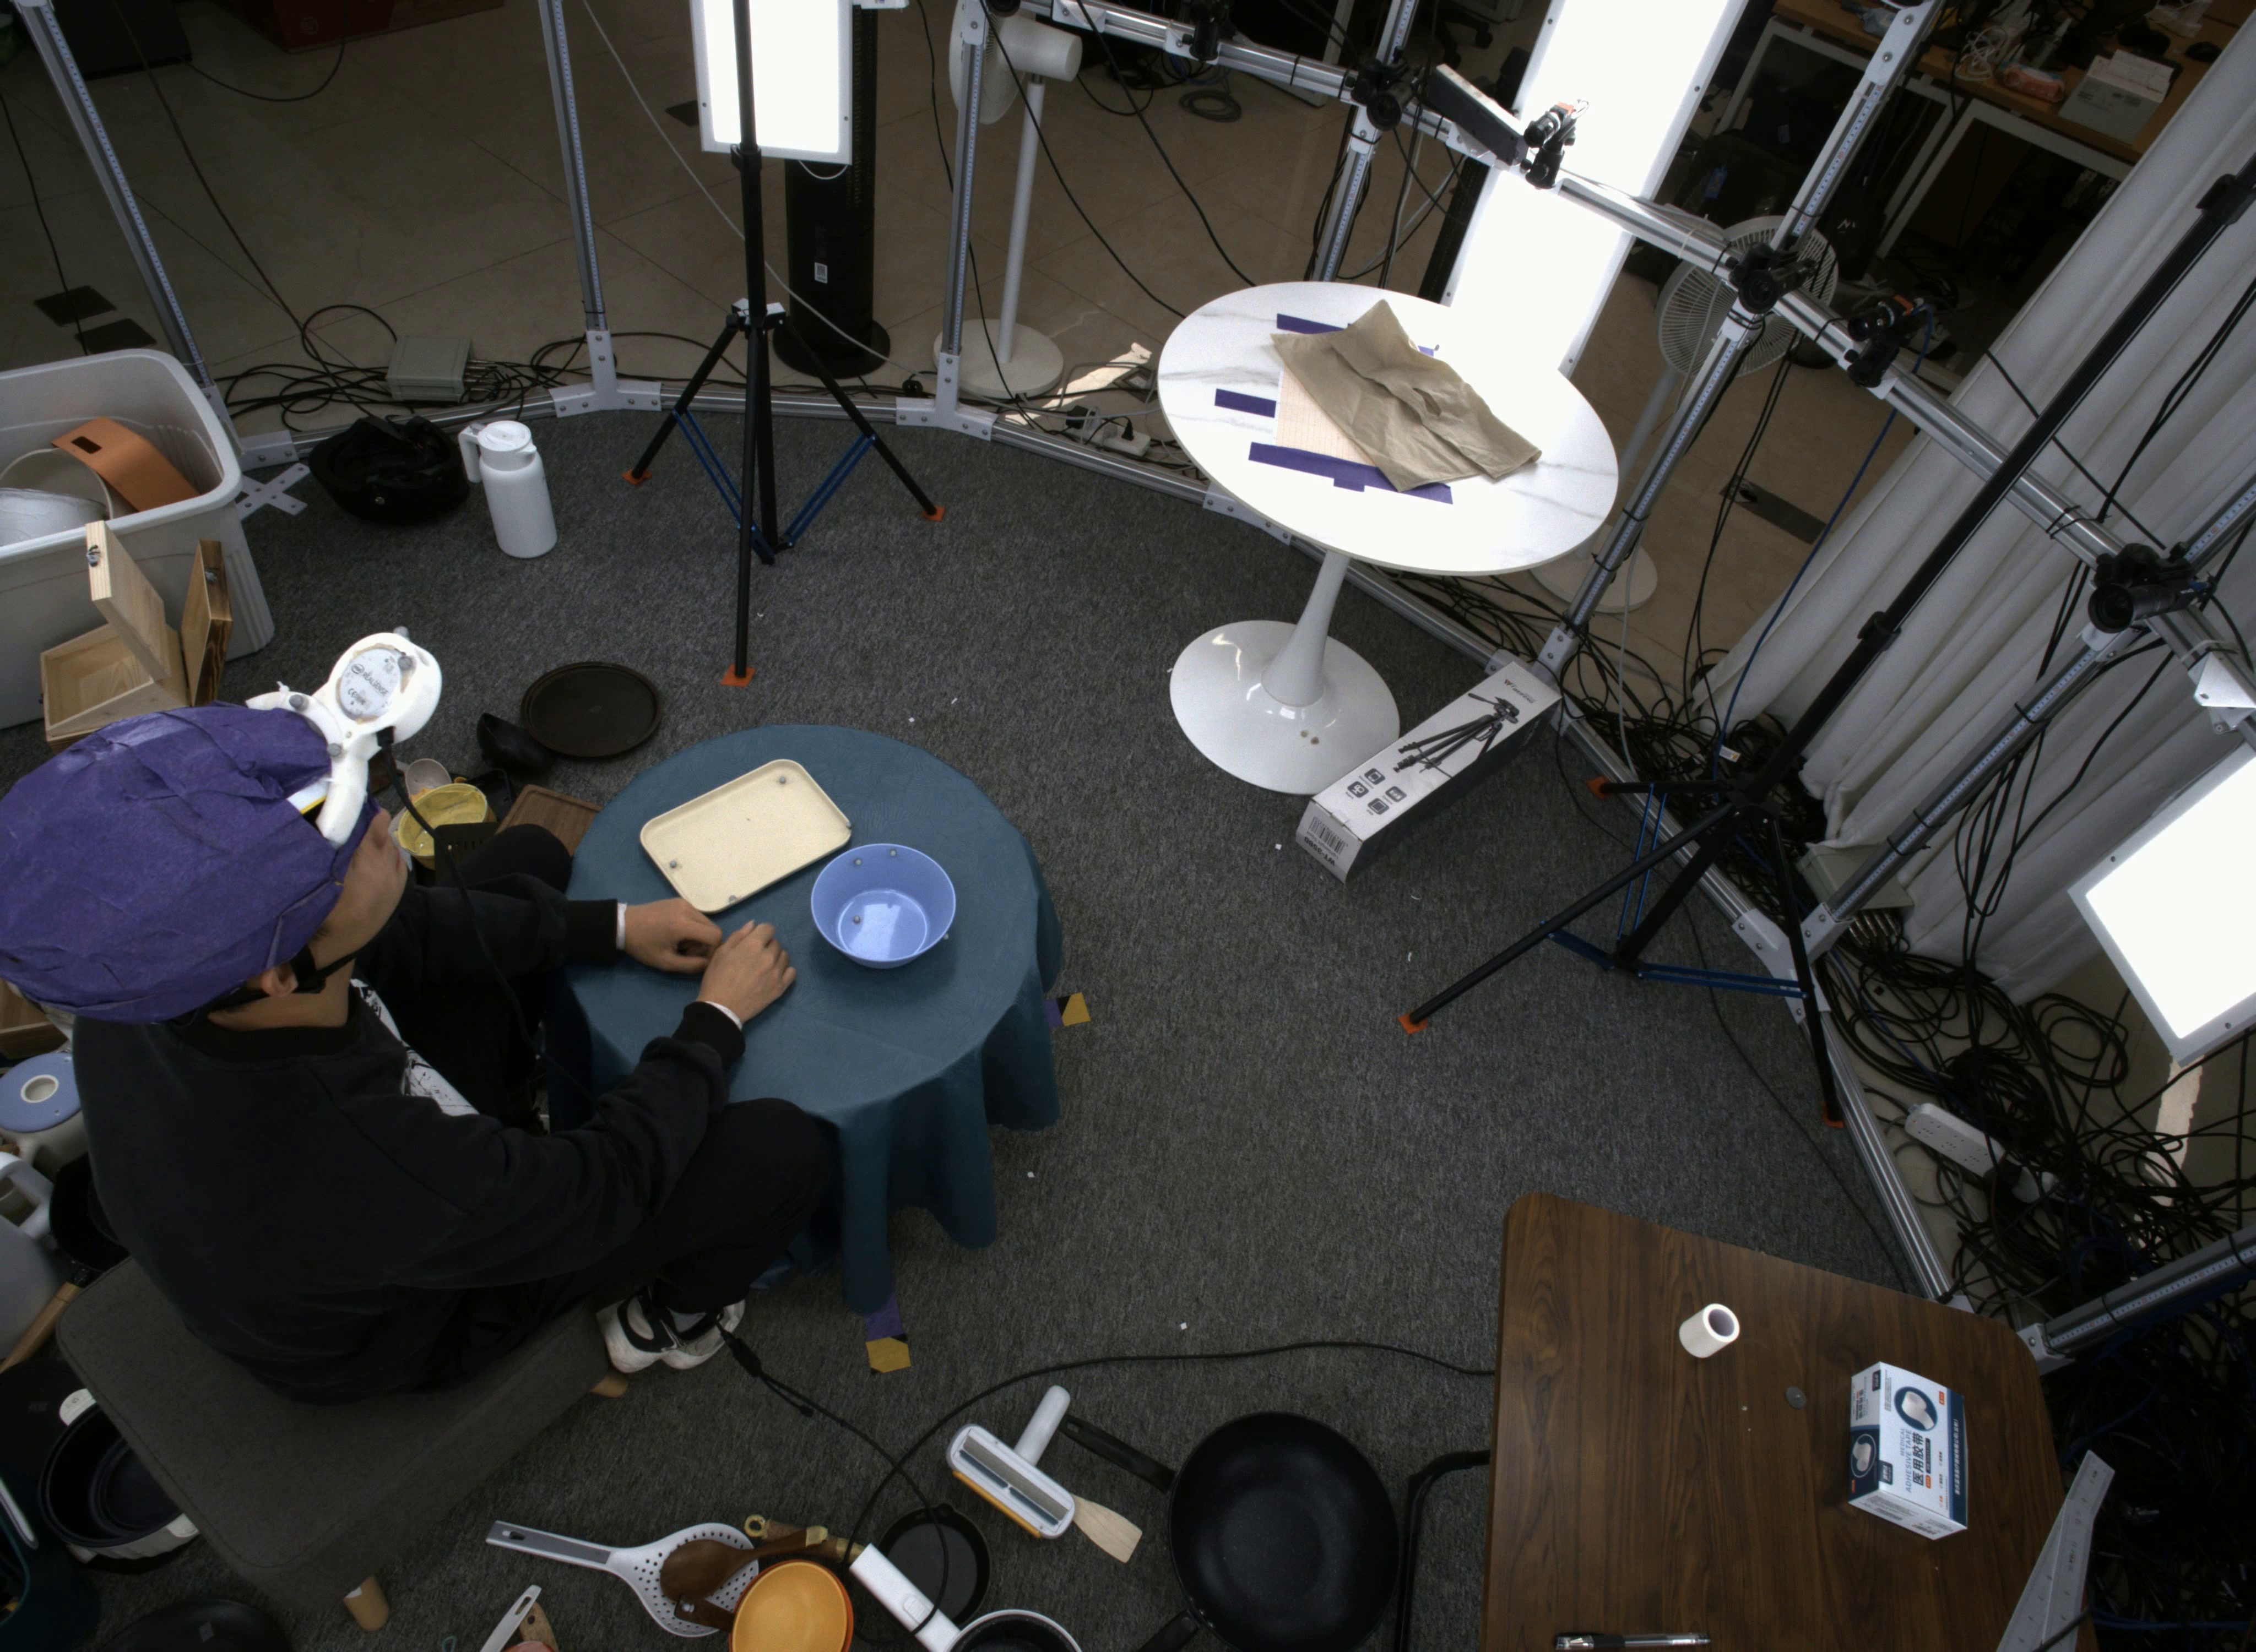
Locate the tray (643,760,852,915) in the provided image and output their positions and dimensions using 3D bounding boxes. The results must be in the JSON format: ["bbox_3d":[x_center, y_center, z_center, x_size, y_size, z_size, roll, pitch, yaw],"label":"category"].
[{"bbox_3d":[-0.496,0.011,1.690,0.240,0.018,0.167,-31,66,-31],"label":"tray"}]

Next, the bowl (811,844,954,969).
[{"bbox_3d":[-0.308,0.110,1.631,0.176,0.072,0.173,8,51,-9],"label":"bowl"}]
